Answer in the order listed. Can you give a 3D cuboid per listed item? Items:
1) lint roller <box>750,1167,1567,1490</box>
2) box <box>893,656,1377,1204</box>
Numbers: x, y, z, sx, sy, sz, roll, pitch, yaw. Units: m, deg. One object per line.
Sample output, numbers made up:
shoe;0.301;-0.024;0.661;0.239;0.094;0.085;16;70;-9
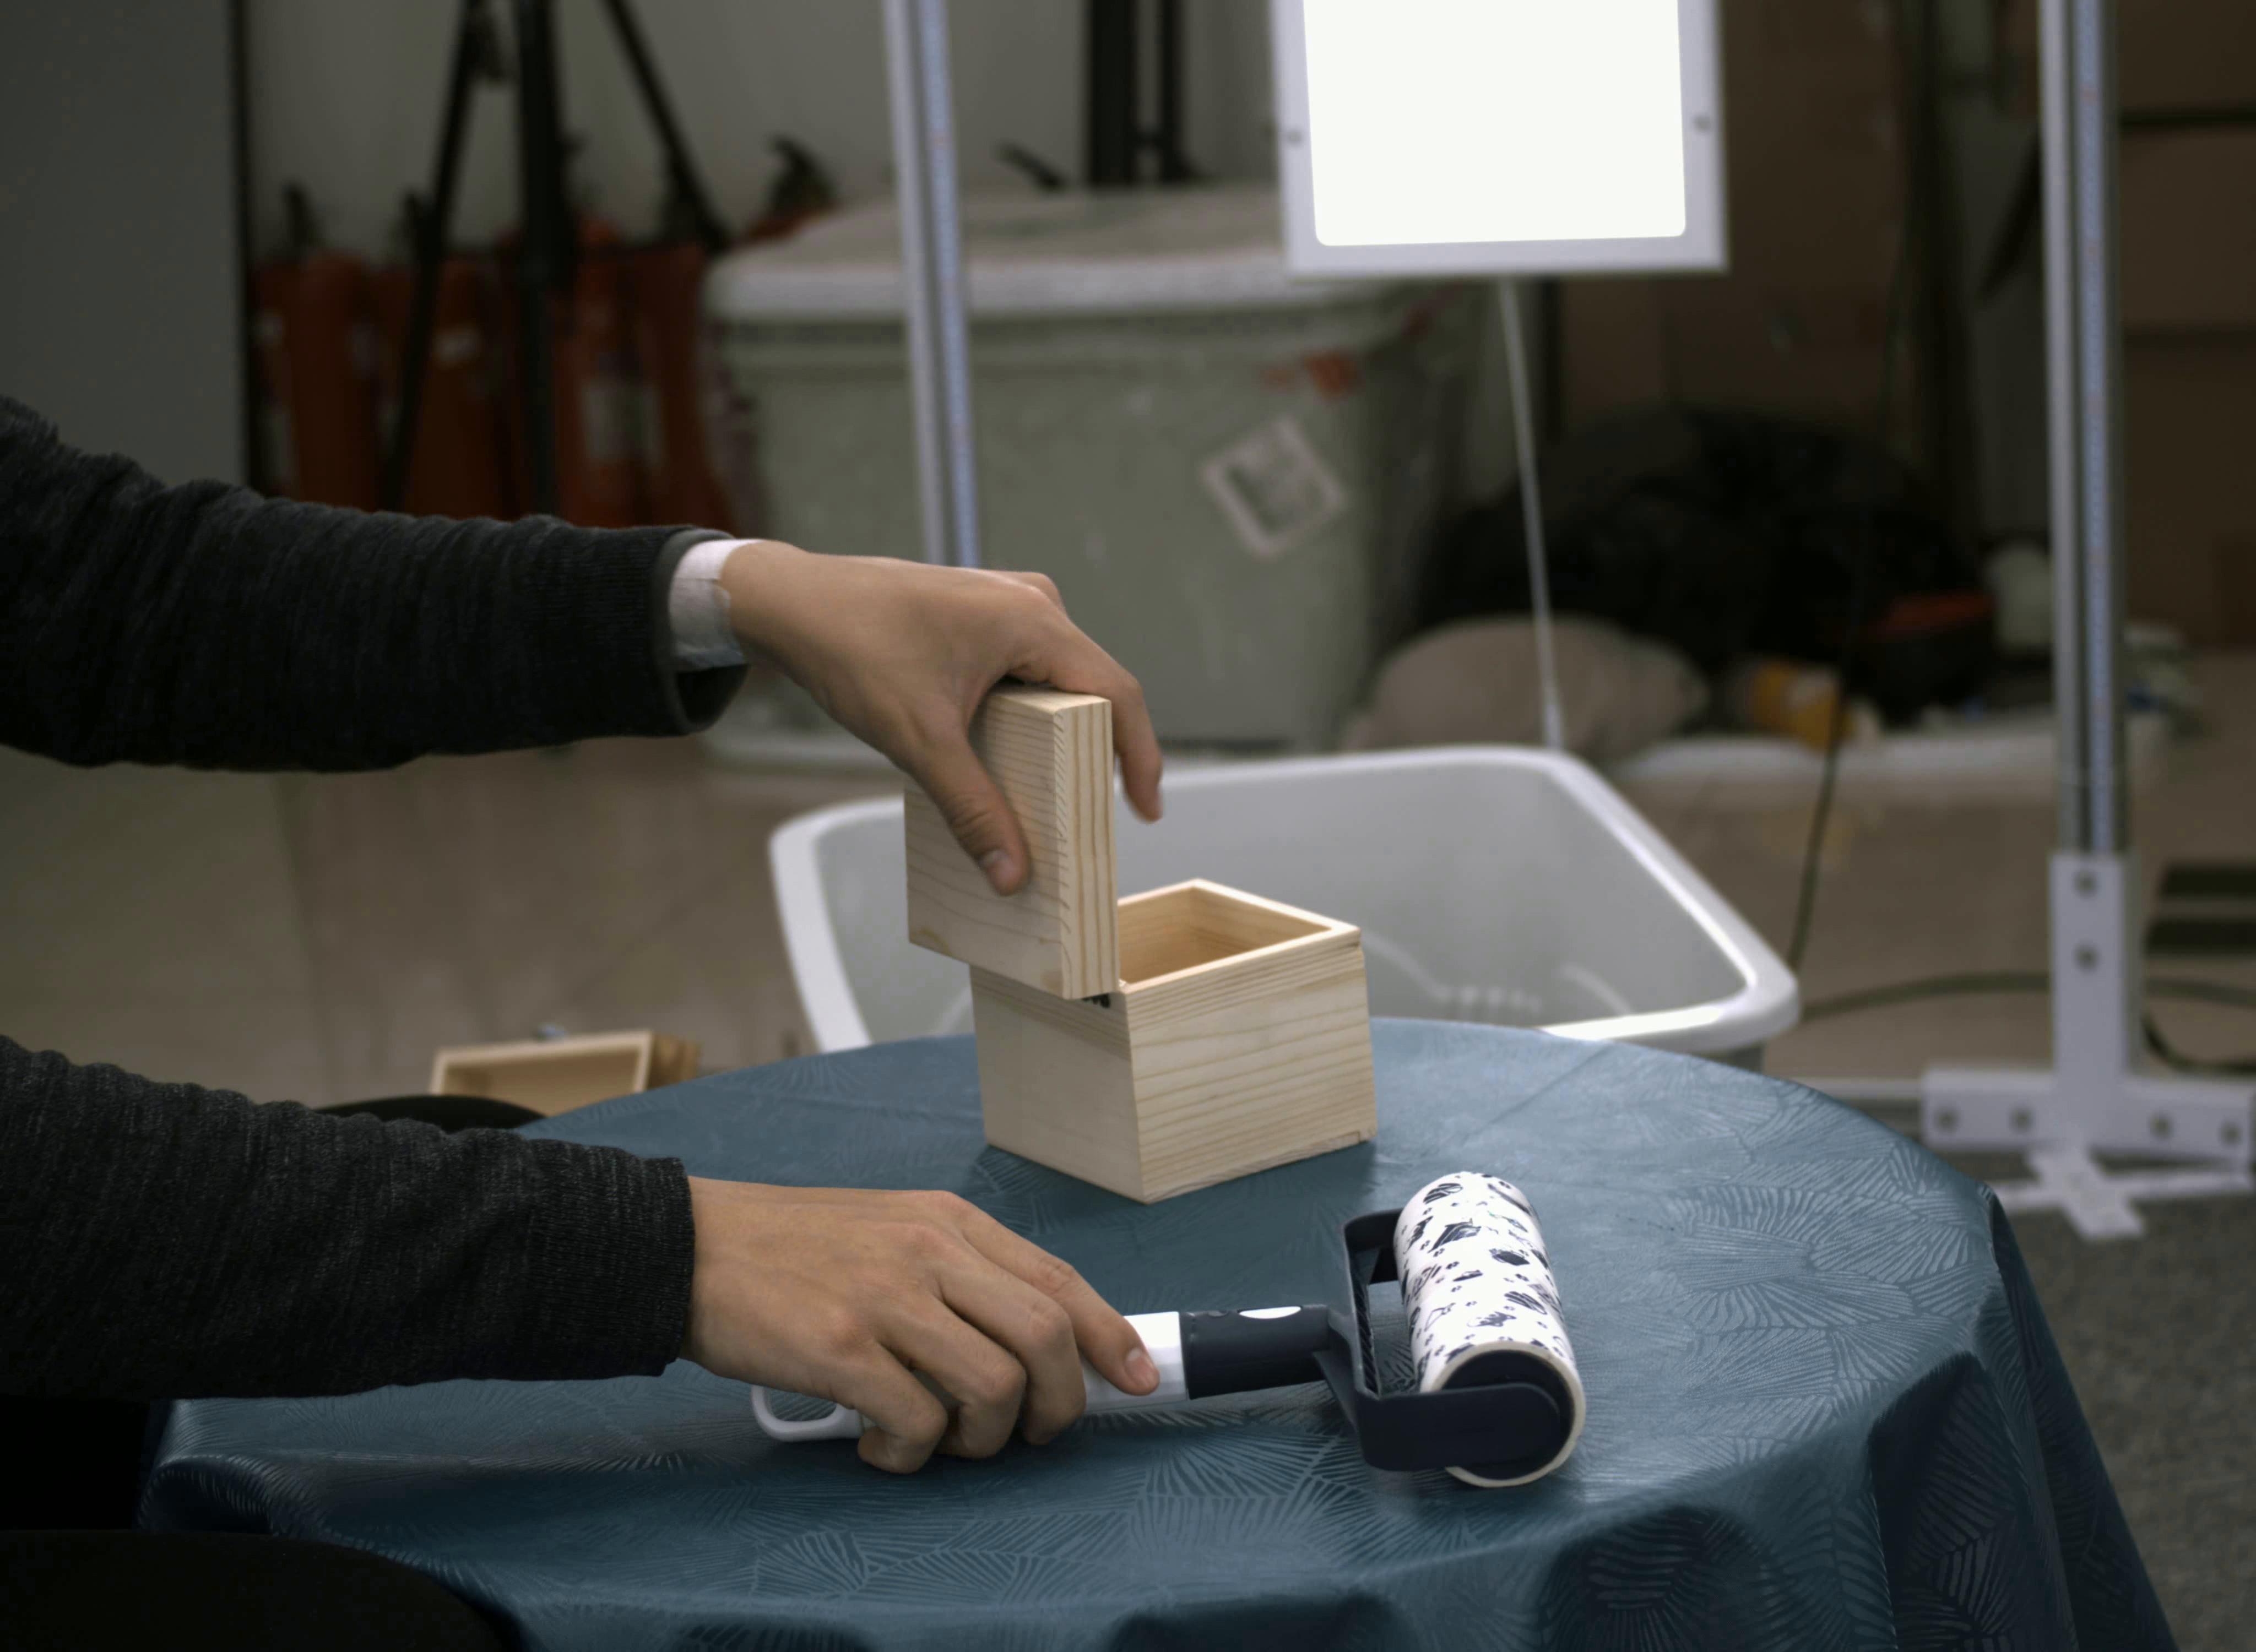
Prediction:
lint roller;0.007;0.159;1.671;0.247;0.050;0.175;-5;15;3
box;0.004;0.026;1.922;0.131;0.185;0.104;-14;16;-30
